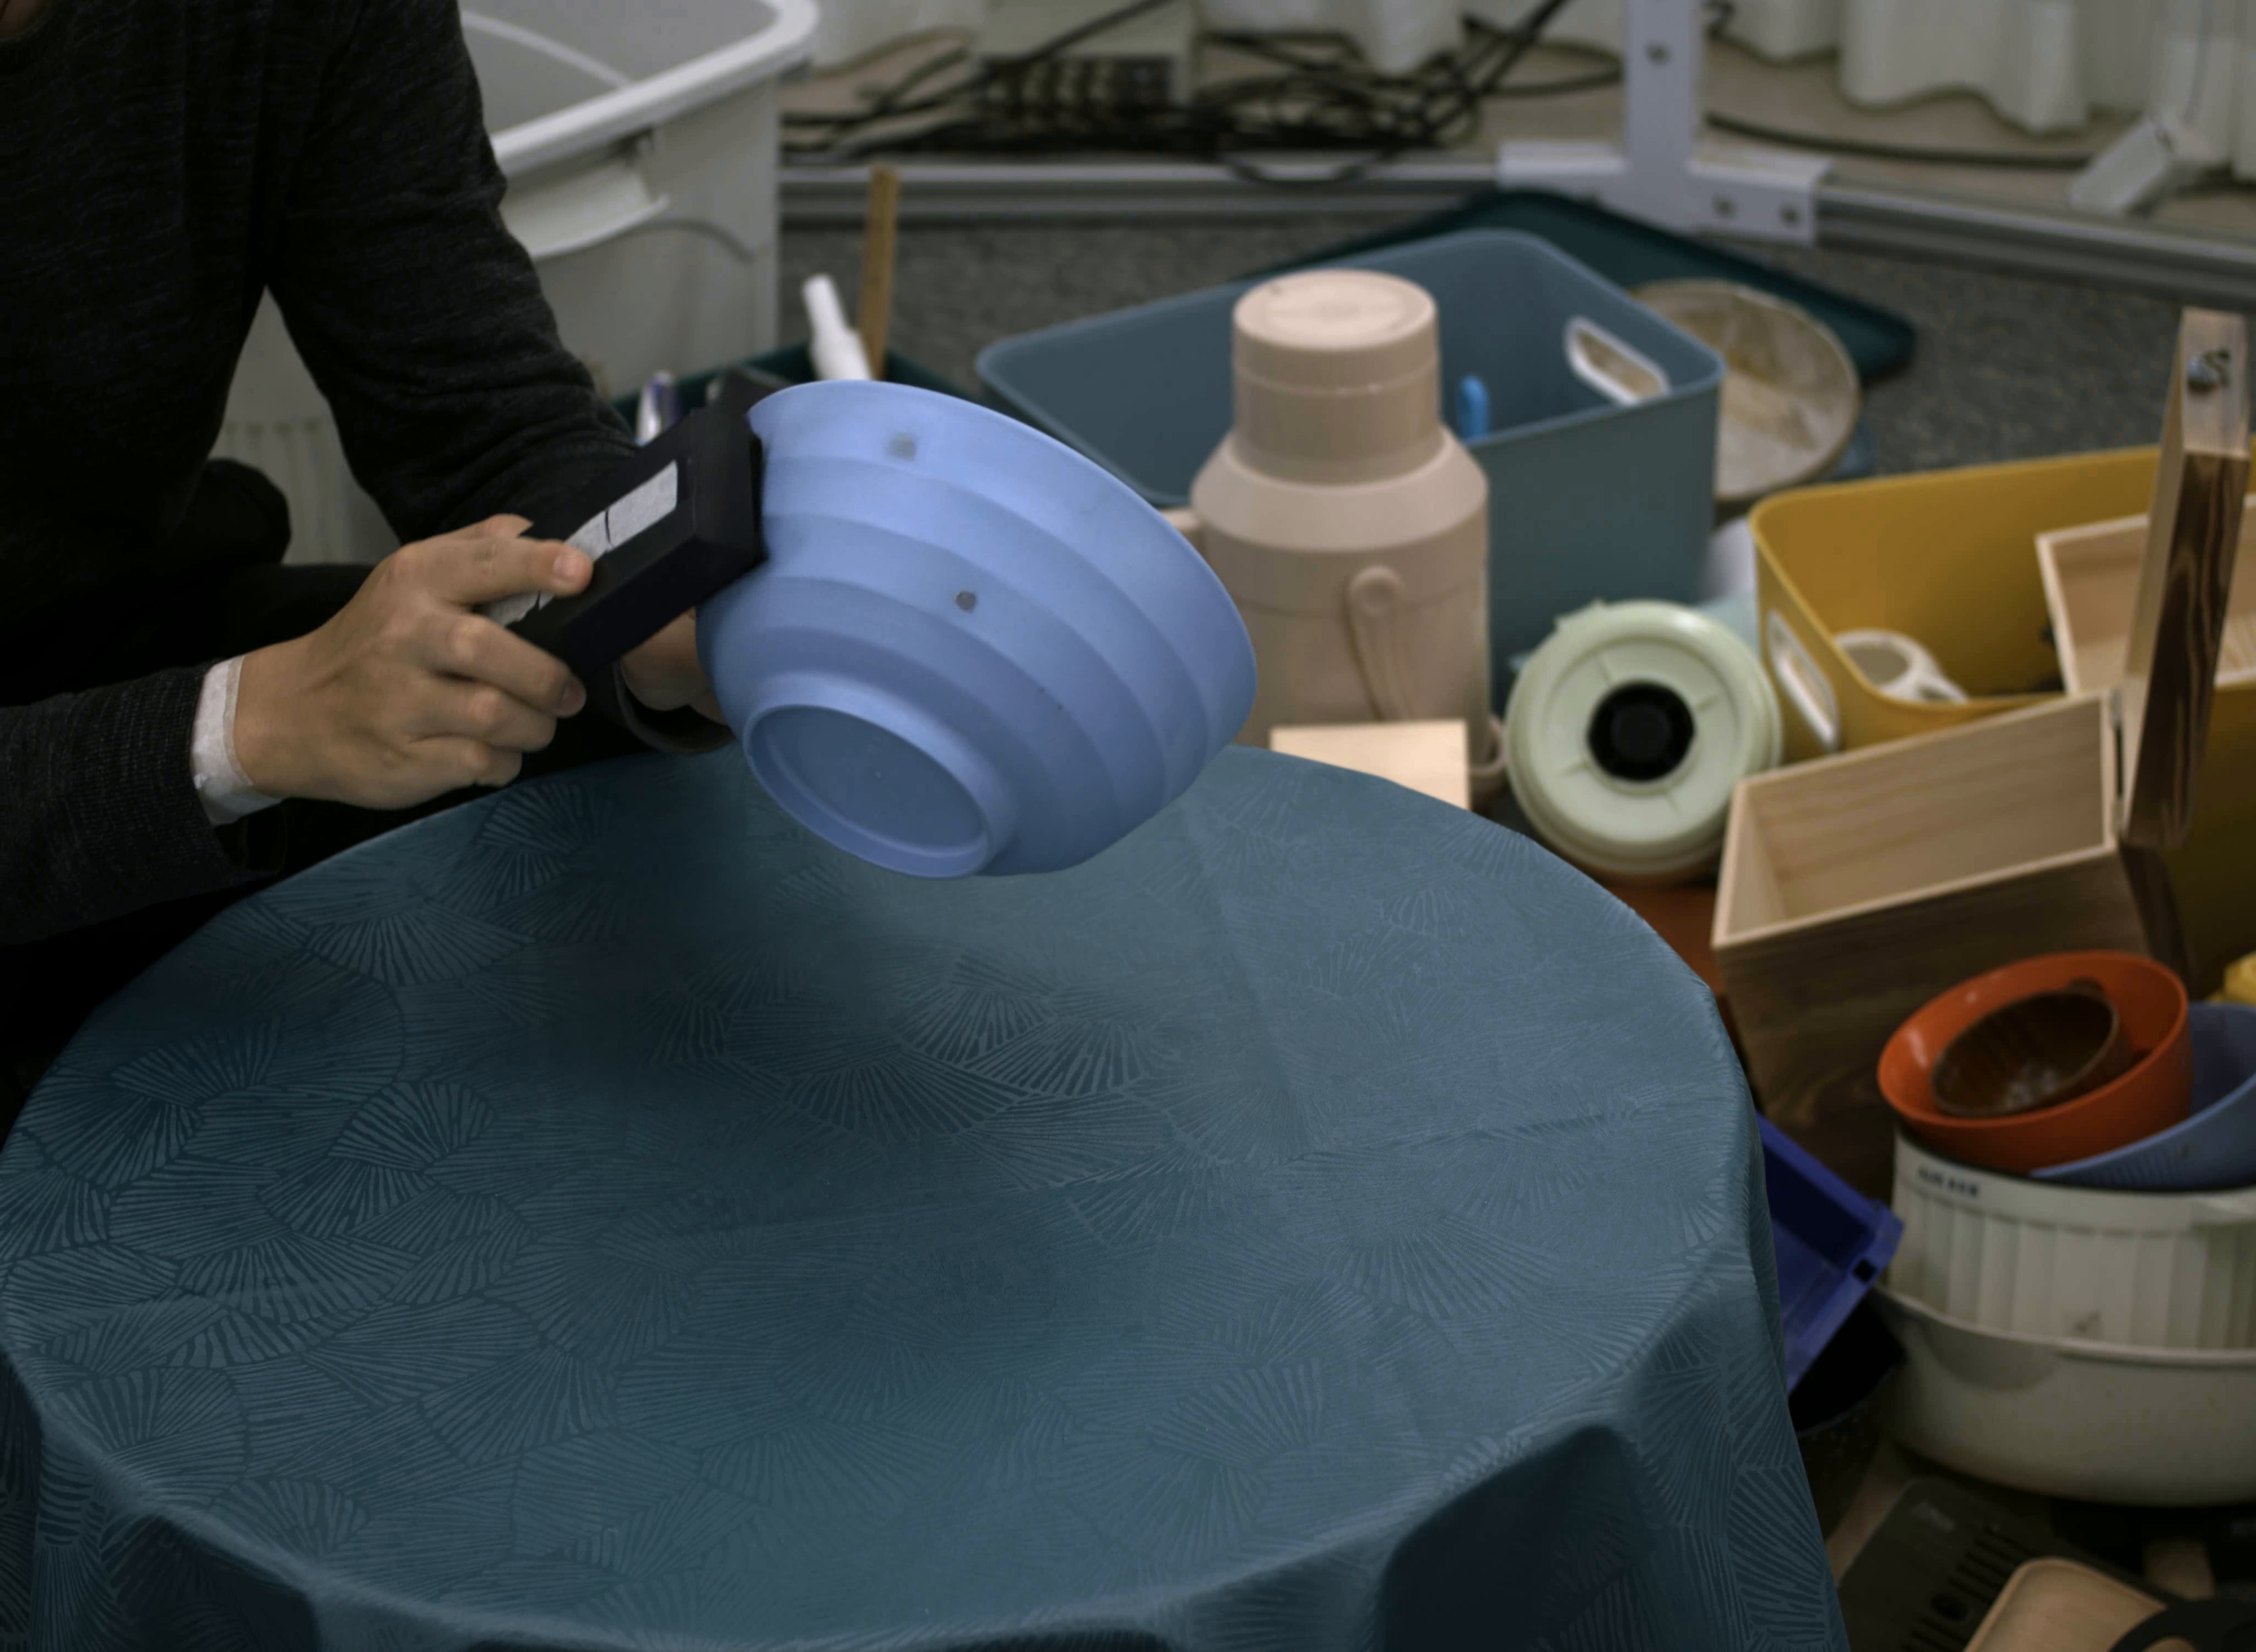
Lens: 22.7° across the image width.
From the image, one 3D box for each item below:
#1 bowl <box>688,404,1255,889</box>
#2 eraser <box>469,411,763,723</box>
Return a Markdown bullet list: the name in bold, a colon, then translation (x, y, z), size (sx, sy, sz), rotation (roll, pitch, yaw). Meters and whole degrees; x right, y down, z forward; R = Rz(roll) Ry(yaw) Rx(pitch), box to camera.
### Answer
- **bowl**: translation (-0.065, -0.043, 1.859), size (0.195, 0.194, 0.097), rotation (10, 61, 24)
- **eraser**: translation (-0.167, -0.084, 1.837), size (0.030, 0.123, 0.054), rotation (25, 48, -36)
